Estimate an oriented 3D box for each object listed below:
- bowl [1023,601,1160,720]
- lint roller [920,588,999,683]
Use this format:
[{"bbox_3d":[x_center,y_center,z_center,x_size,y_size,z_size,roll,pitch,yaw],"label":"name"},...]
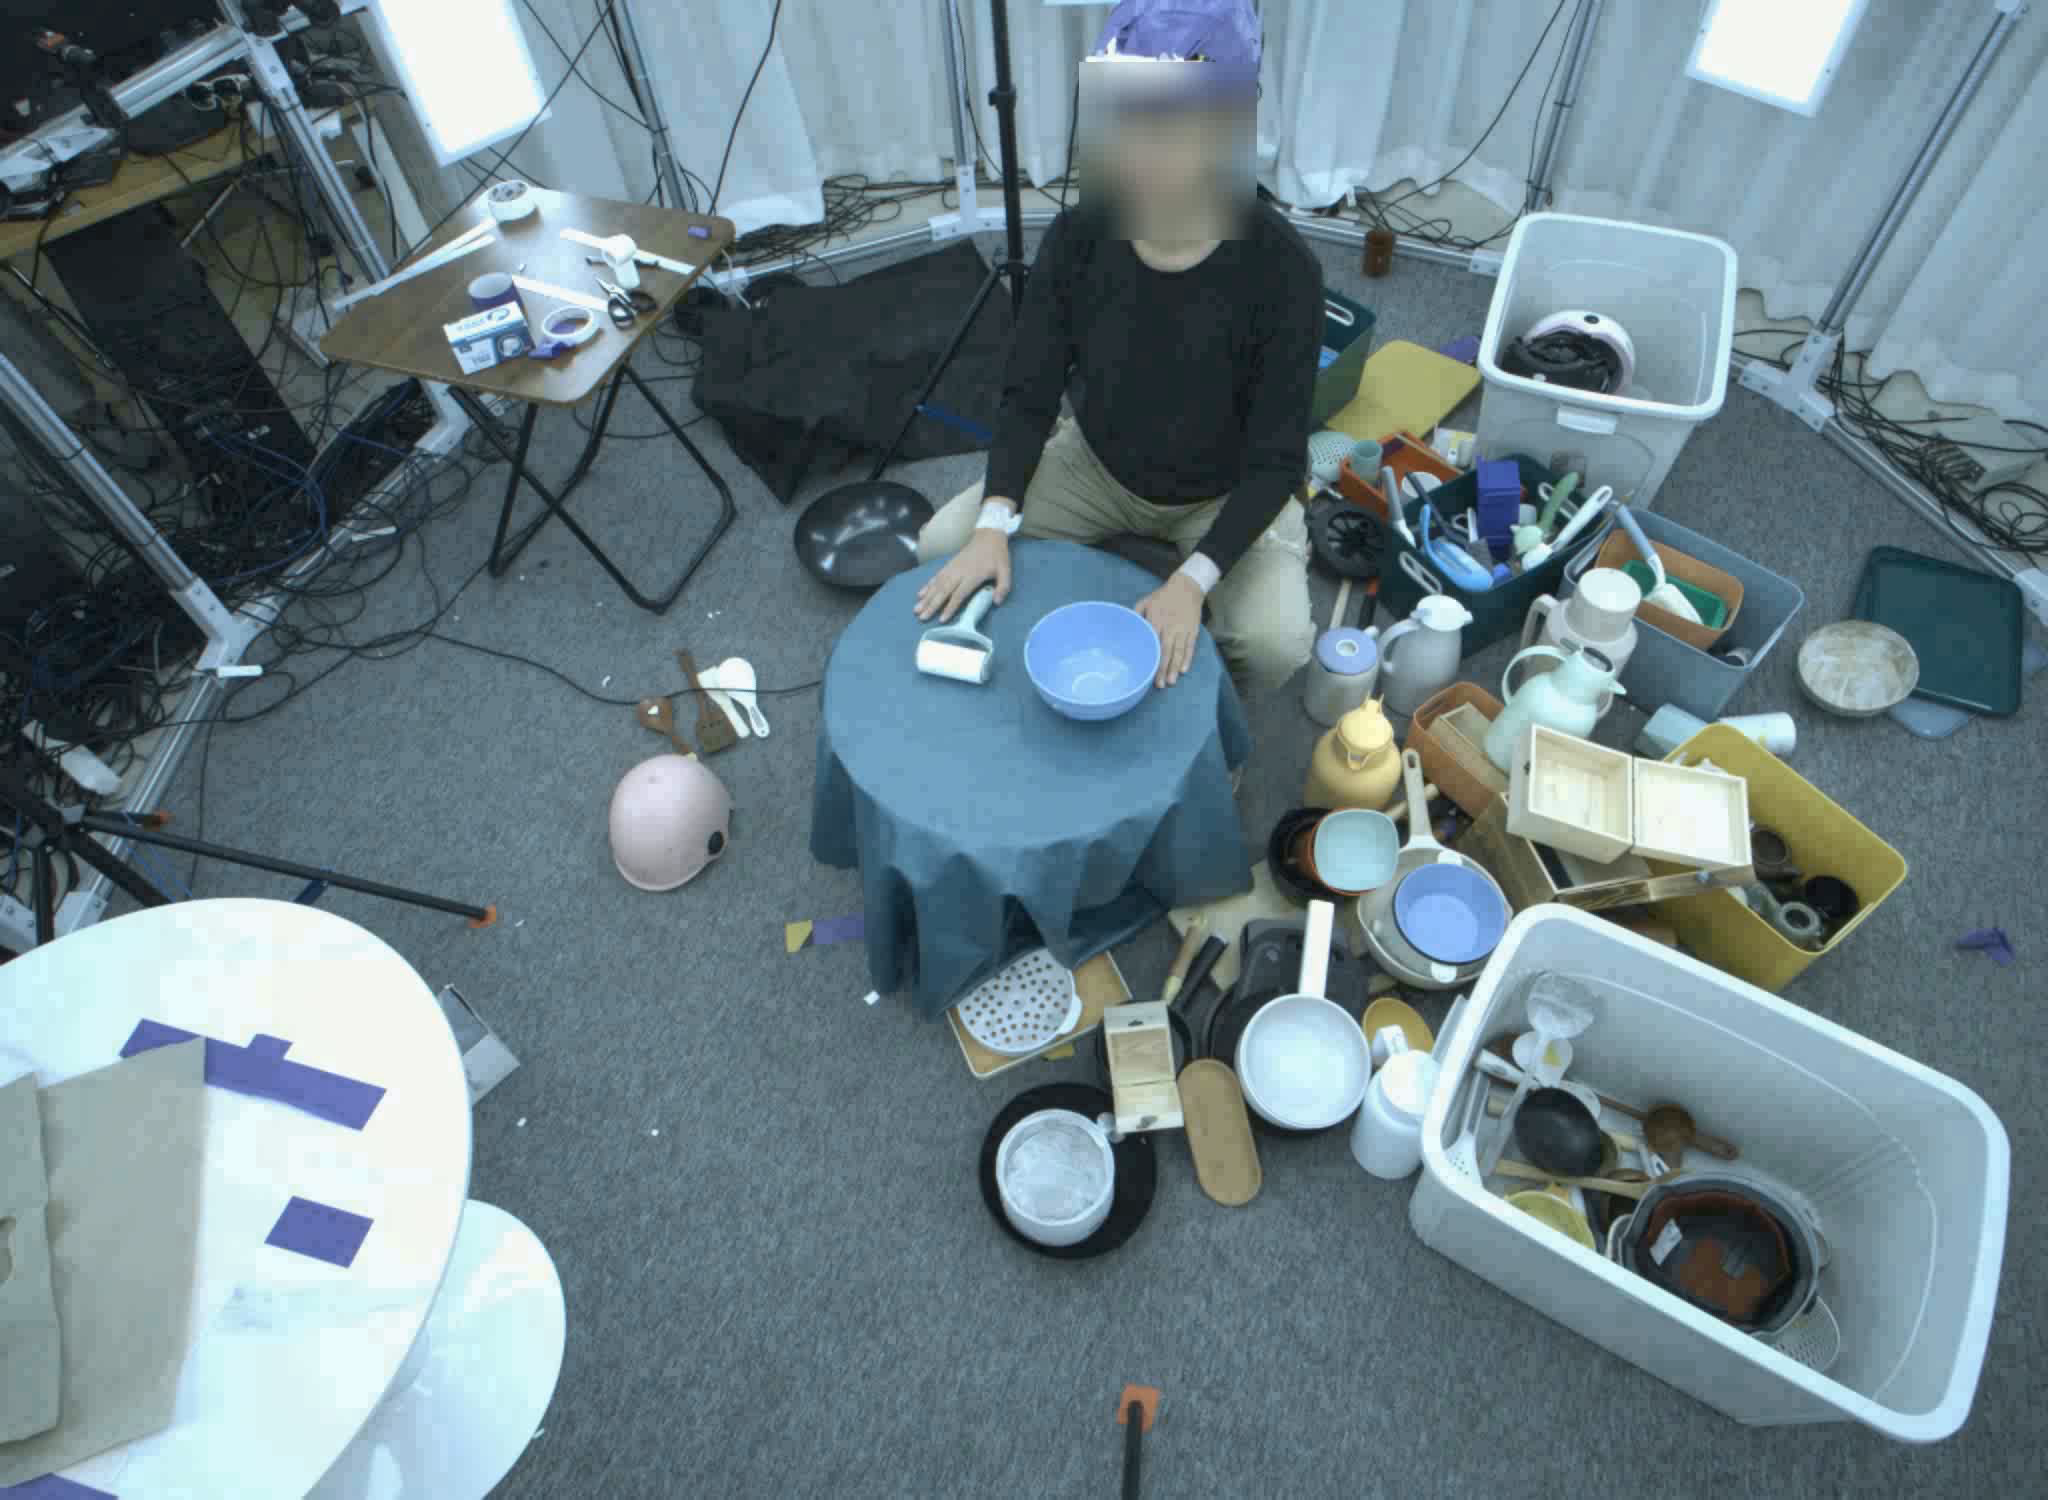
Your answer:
[{"bbox_3d":[0.100,-0.117,1.807,0.196,0.096,0.194,-1,54,3],"label":"bowl"},{"bbox_3d":[-0.078,-0.189,1.897,0.115,0.049,0.197,12,55,12],"label":"lint roller"}]
